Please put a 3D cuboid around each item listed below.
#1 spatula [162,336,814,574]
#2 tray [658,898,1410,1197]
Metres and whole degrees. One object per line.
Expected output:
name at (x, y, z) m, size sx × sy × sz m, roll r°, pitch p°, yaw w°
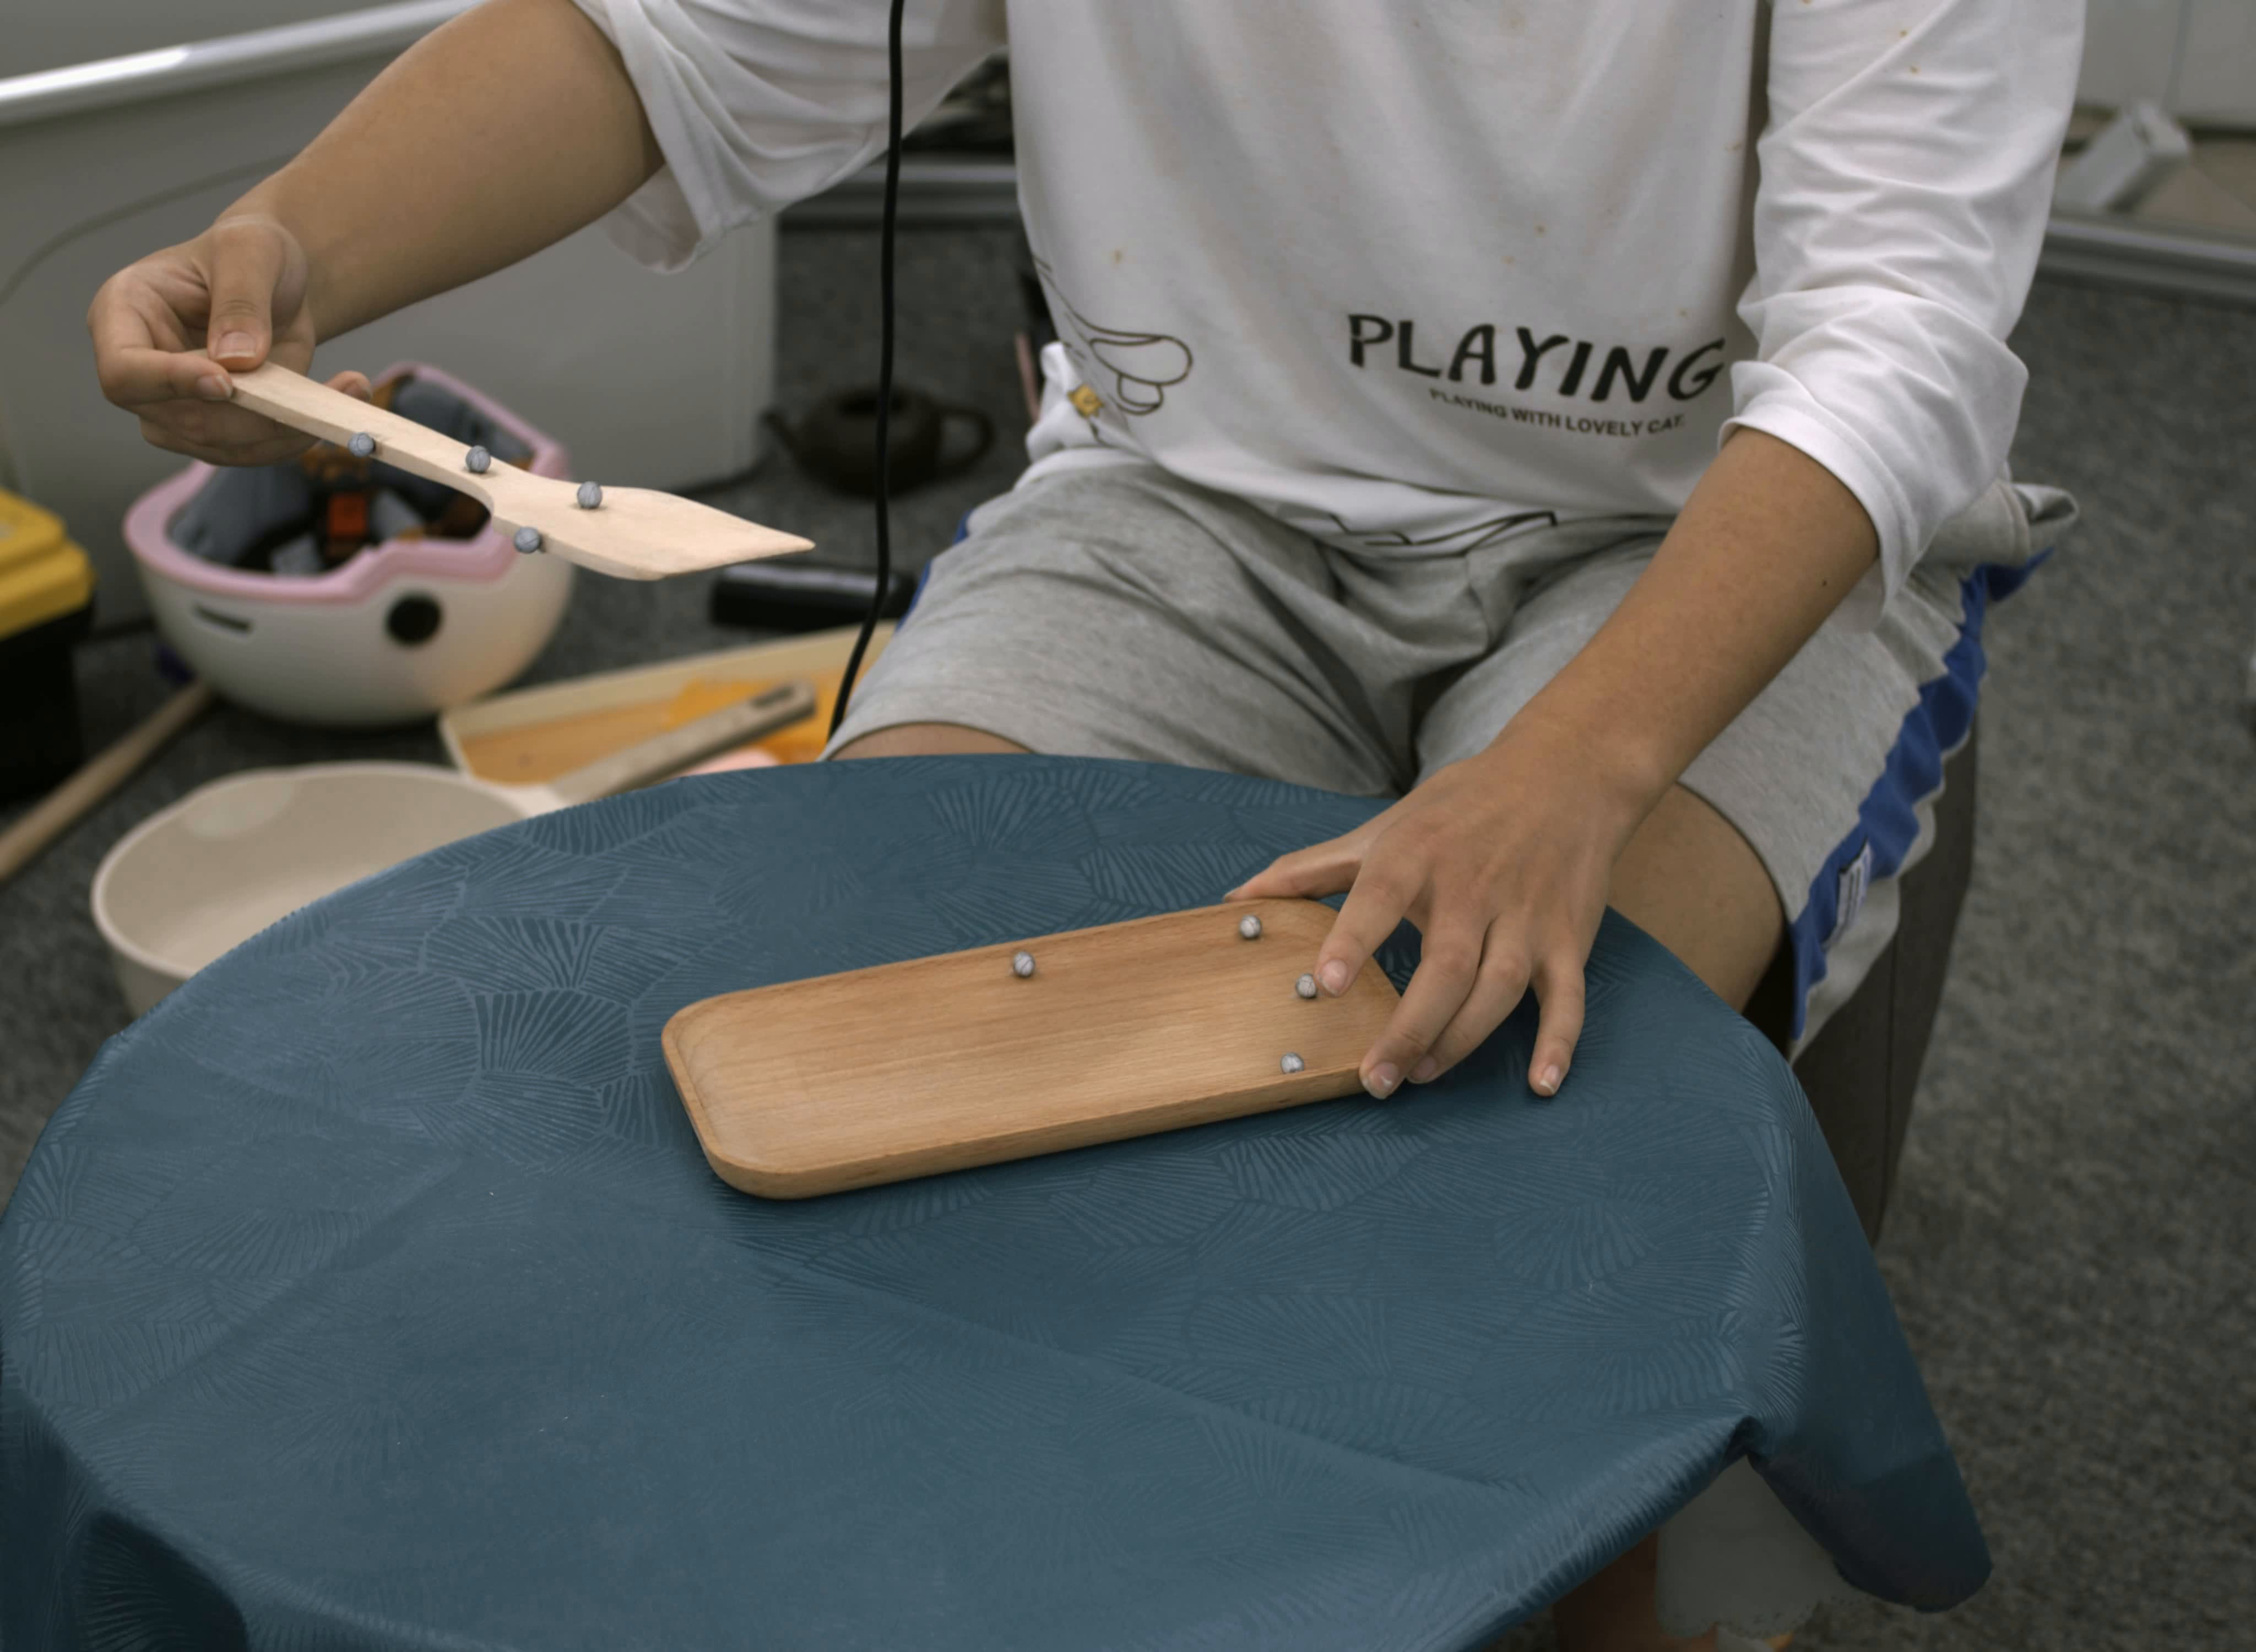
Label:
spatula at (-0.227, -0.125, 1.880) m, size 0.292 × 0.010 × 0.073 m, roll 22°, pitch 25°, yaw 39°
tray at (-0.033, 0.076, 1.940) m, size 0.250 × 0.022 × 0.132 m, roll -10°, pitch 26°, yaw -12°
